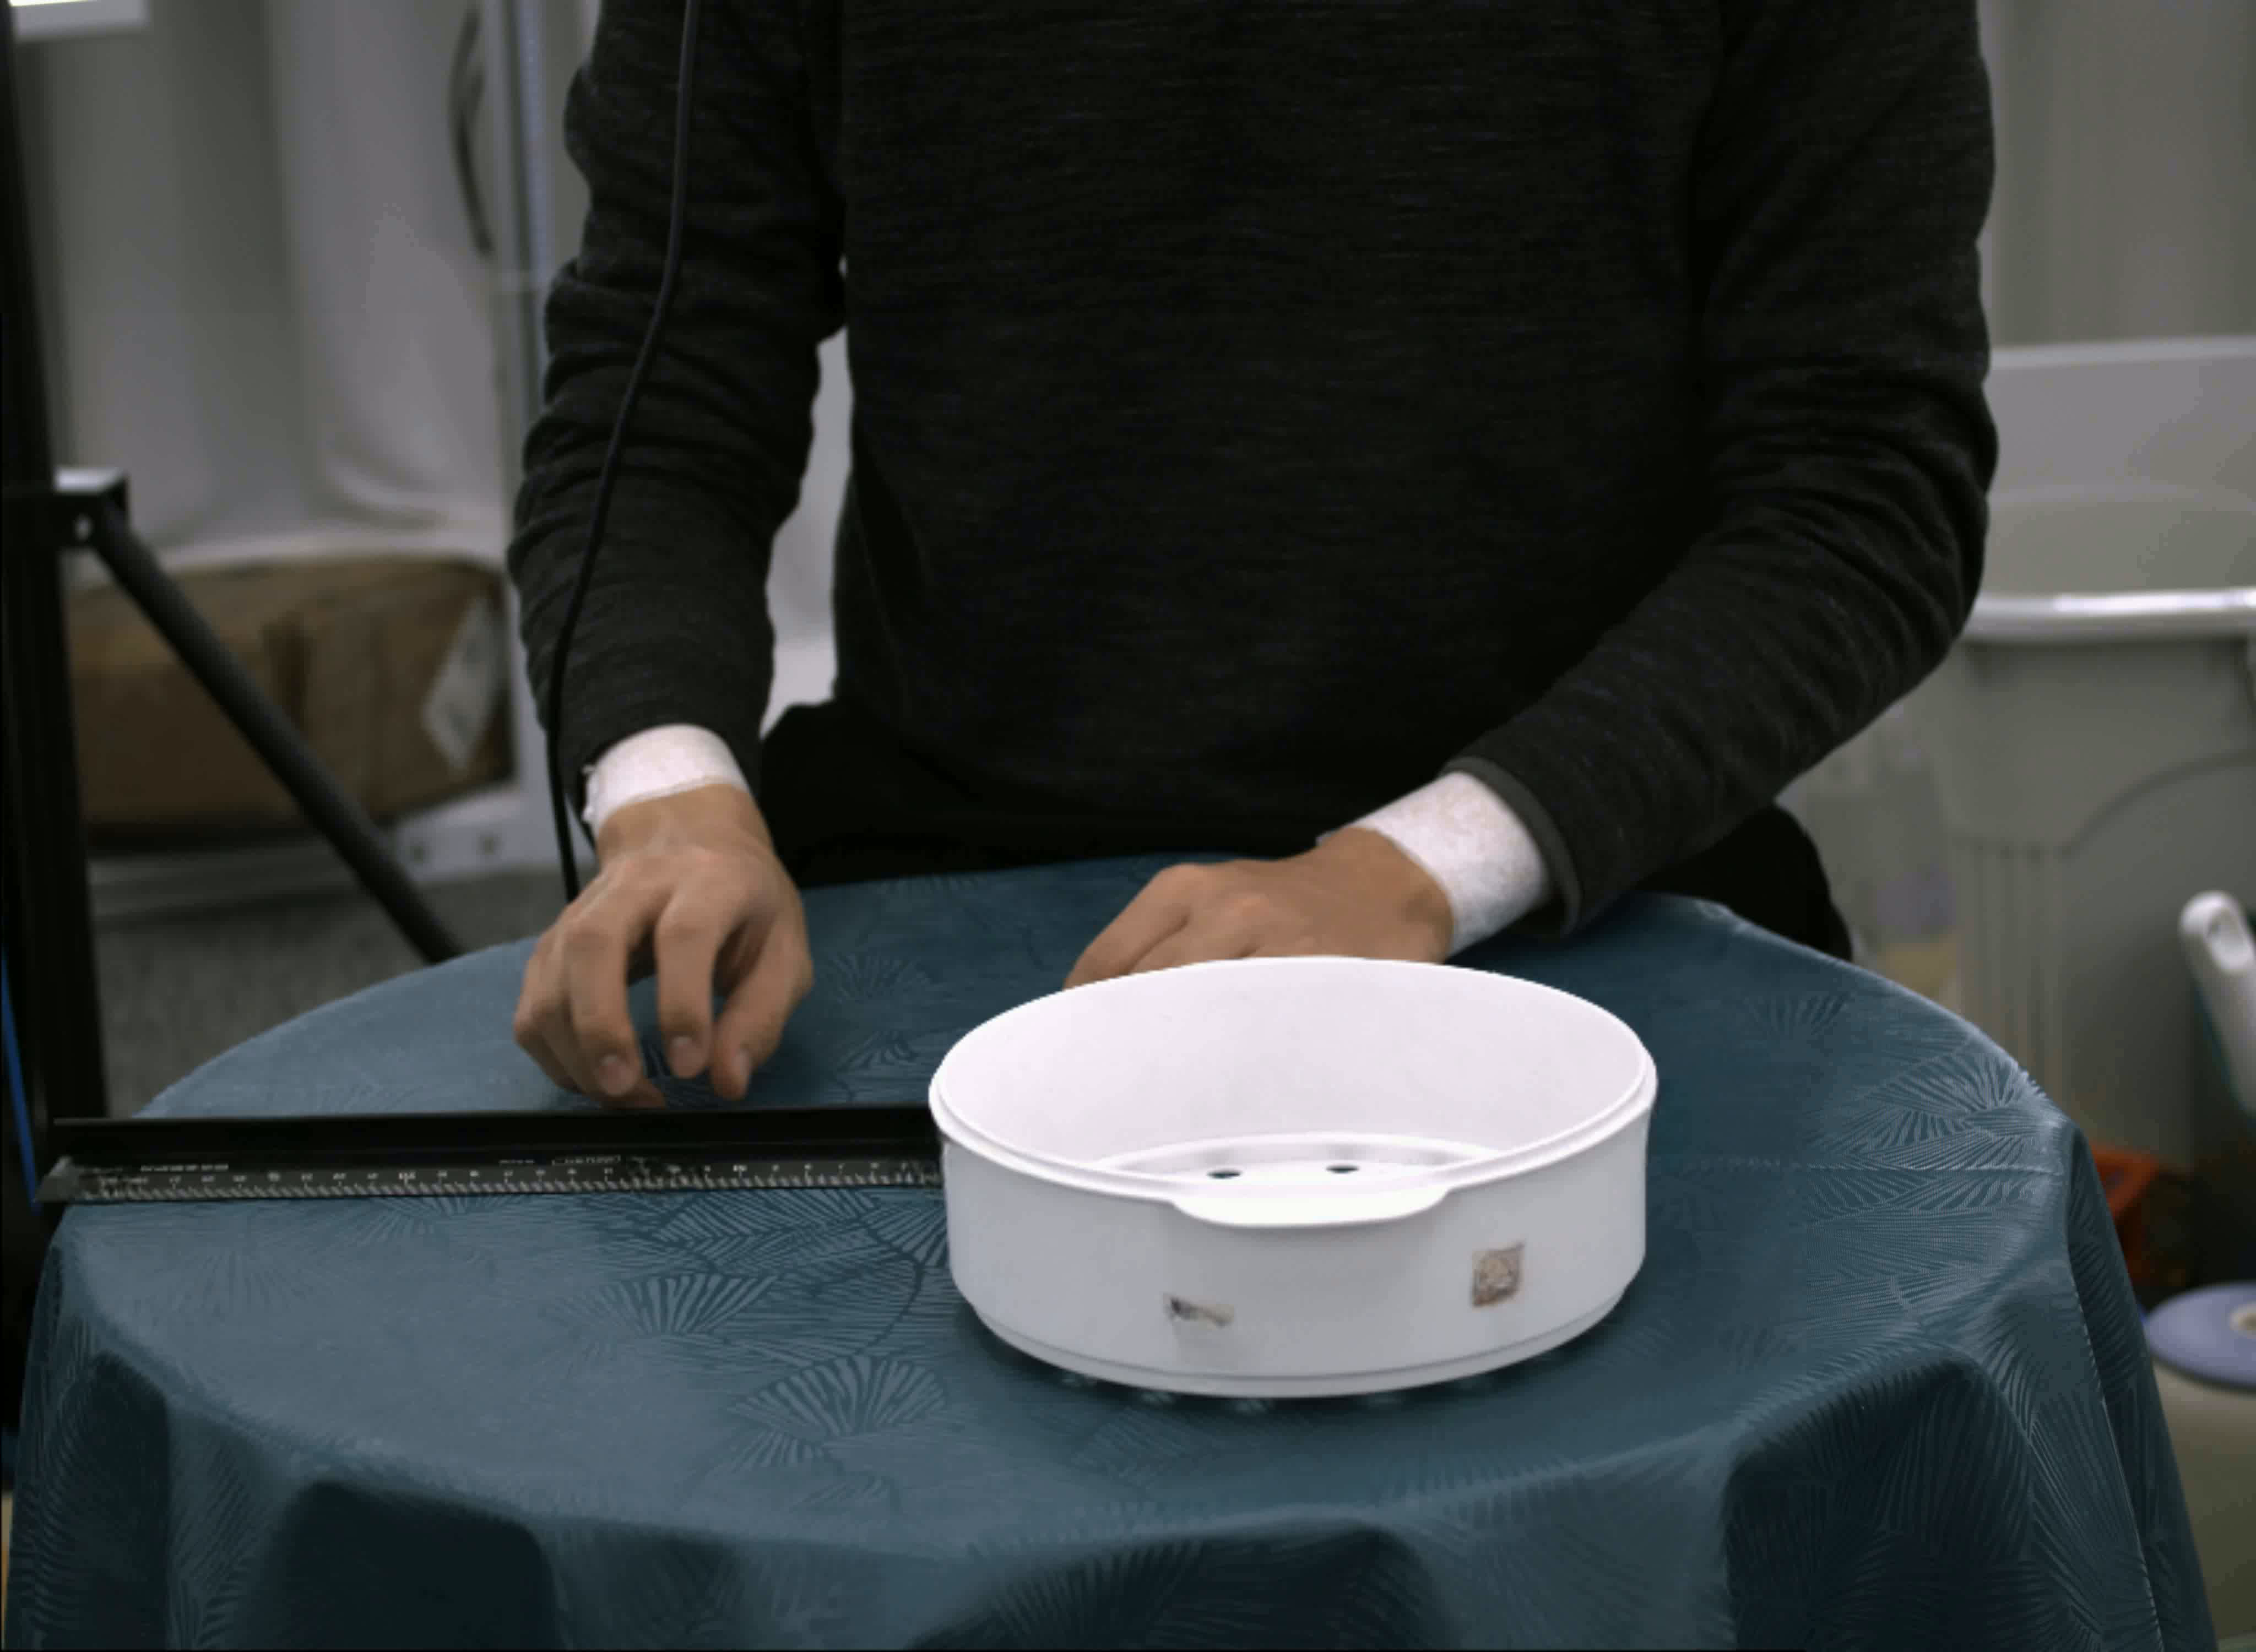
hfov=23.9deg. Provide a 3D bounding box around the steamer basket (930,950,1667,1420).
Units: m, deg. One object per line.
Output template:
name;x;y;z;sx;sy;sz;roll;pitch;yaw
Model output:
steamer basket;0.047;0.098;1.458;0.201;0.069;0.232;-2;18;0

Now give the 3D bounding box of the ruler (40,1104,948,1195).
ruler;-0.170;0.097;1.596;0.312;0.017;0.039;-1;19;6
